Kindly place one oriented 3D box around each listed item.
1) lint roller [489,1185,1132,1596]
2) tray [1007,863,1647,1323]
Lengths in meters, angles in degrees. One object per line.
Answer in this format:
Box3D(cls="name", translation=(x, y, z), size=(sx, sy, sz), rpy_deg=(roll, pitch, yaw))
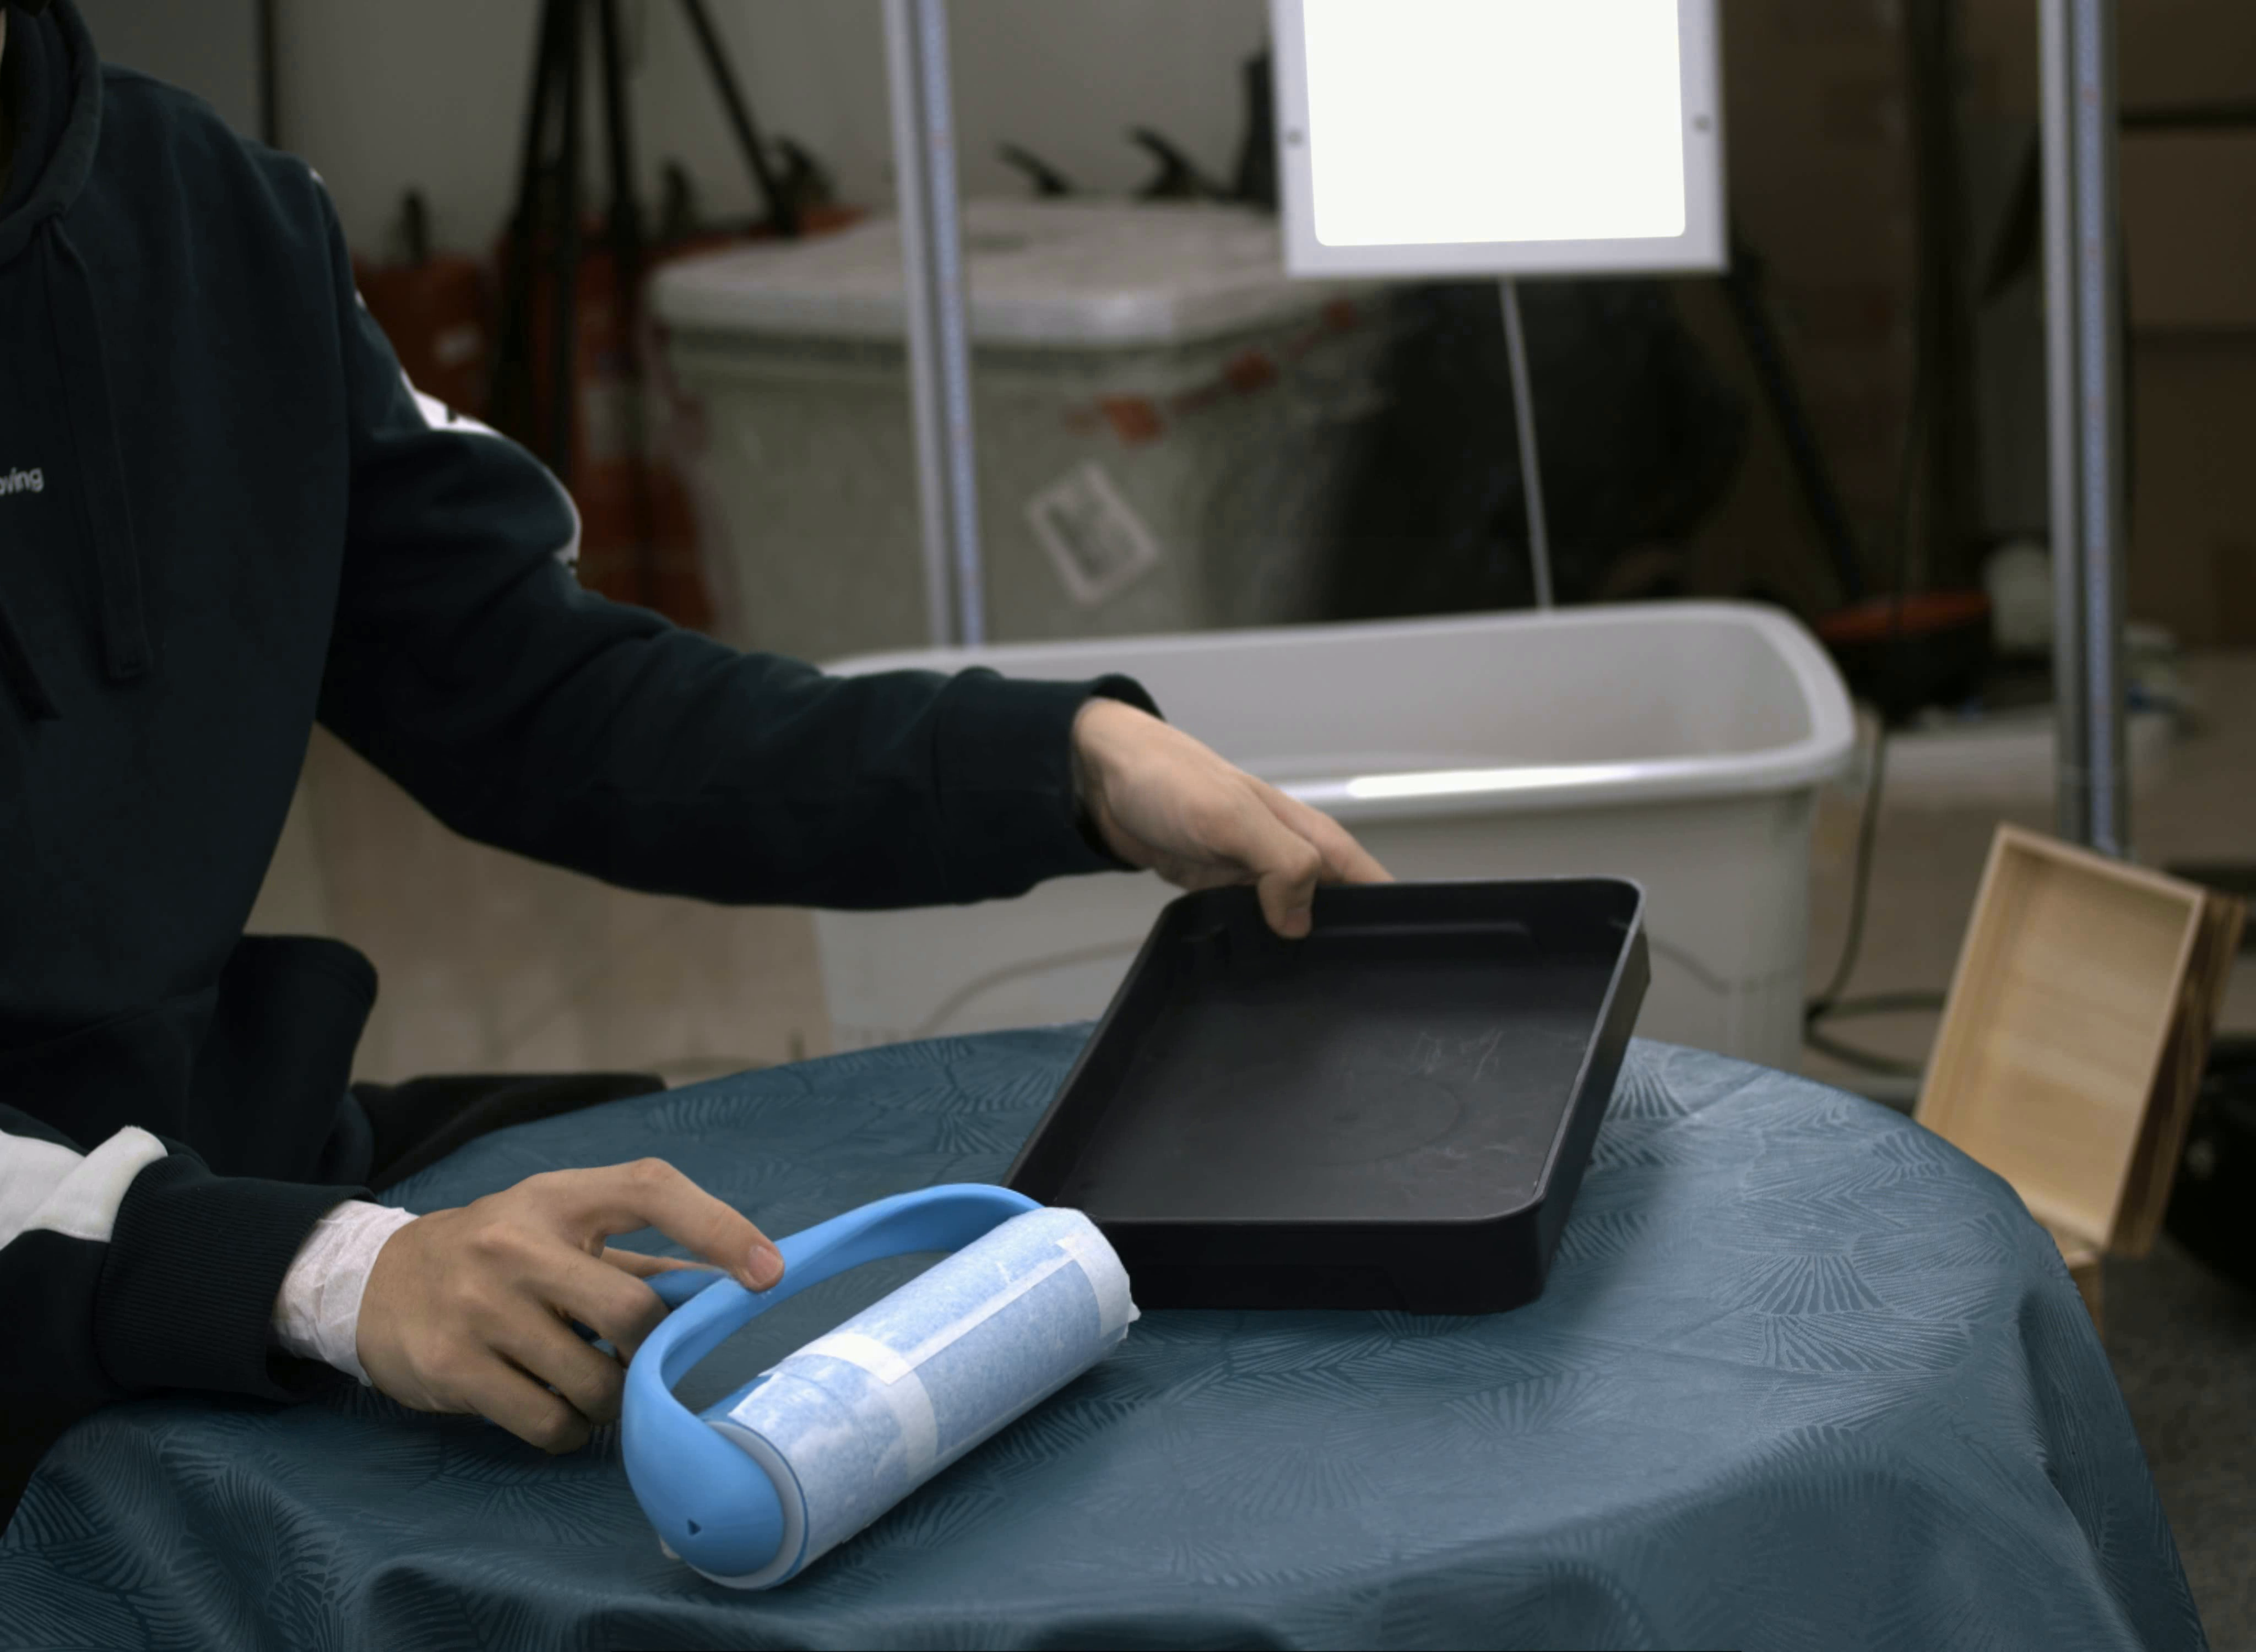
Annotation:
Box3D(cls="lint roller", translation=(-0.119, 0.164, 1.667), size=(0.183, 0.068, 0.224), rpy_deg=(3, 18, 27))
Box3D(cls="tray", translation=(0.076, 0.088, 1.897), size=(0.186, 0.037, 0.314), rpy_deg=(-3, 20, 14))
